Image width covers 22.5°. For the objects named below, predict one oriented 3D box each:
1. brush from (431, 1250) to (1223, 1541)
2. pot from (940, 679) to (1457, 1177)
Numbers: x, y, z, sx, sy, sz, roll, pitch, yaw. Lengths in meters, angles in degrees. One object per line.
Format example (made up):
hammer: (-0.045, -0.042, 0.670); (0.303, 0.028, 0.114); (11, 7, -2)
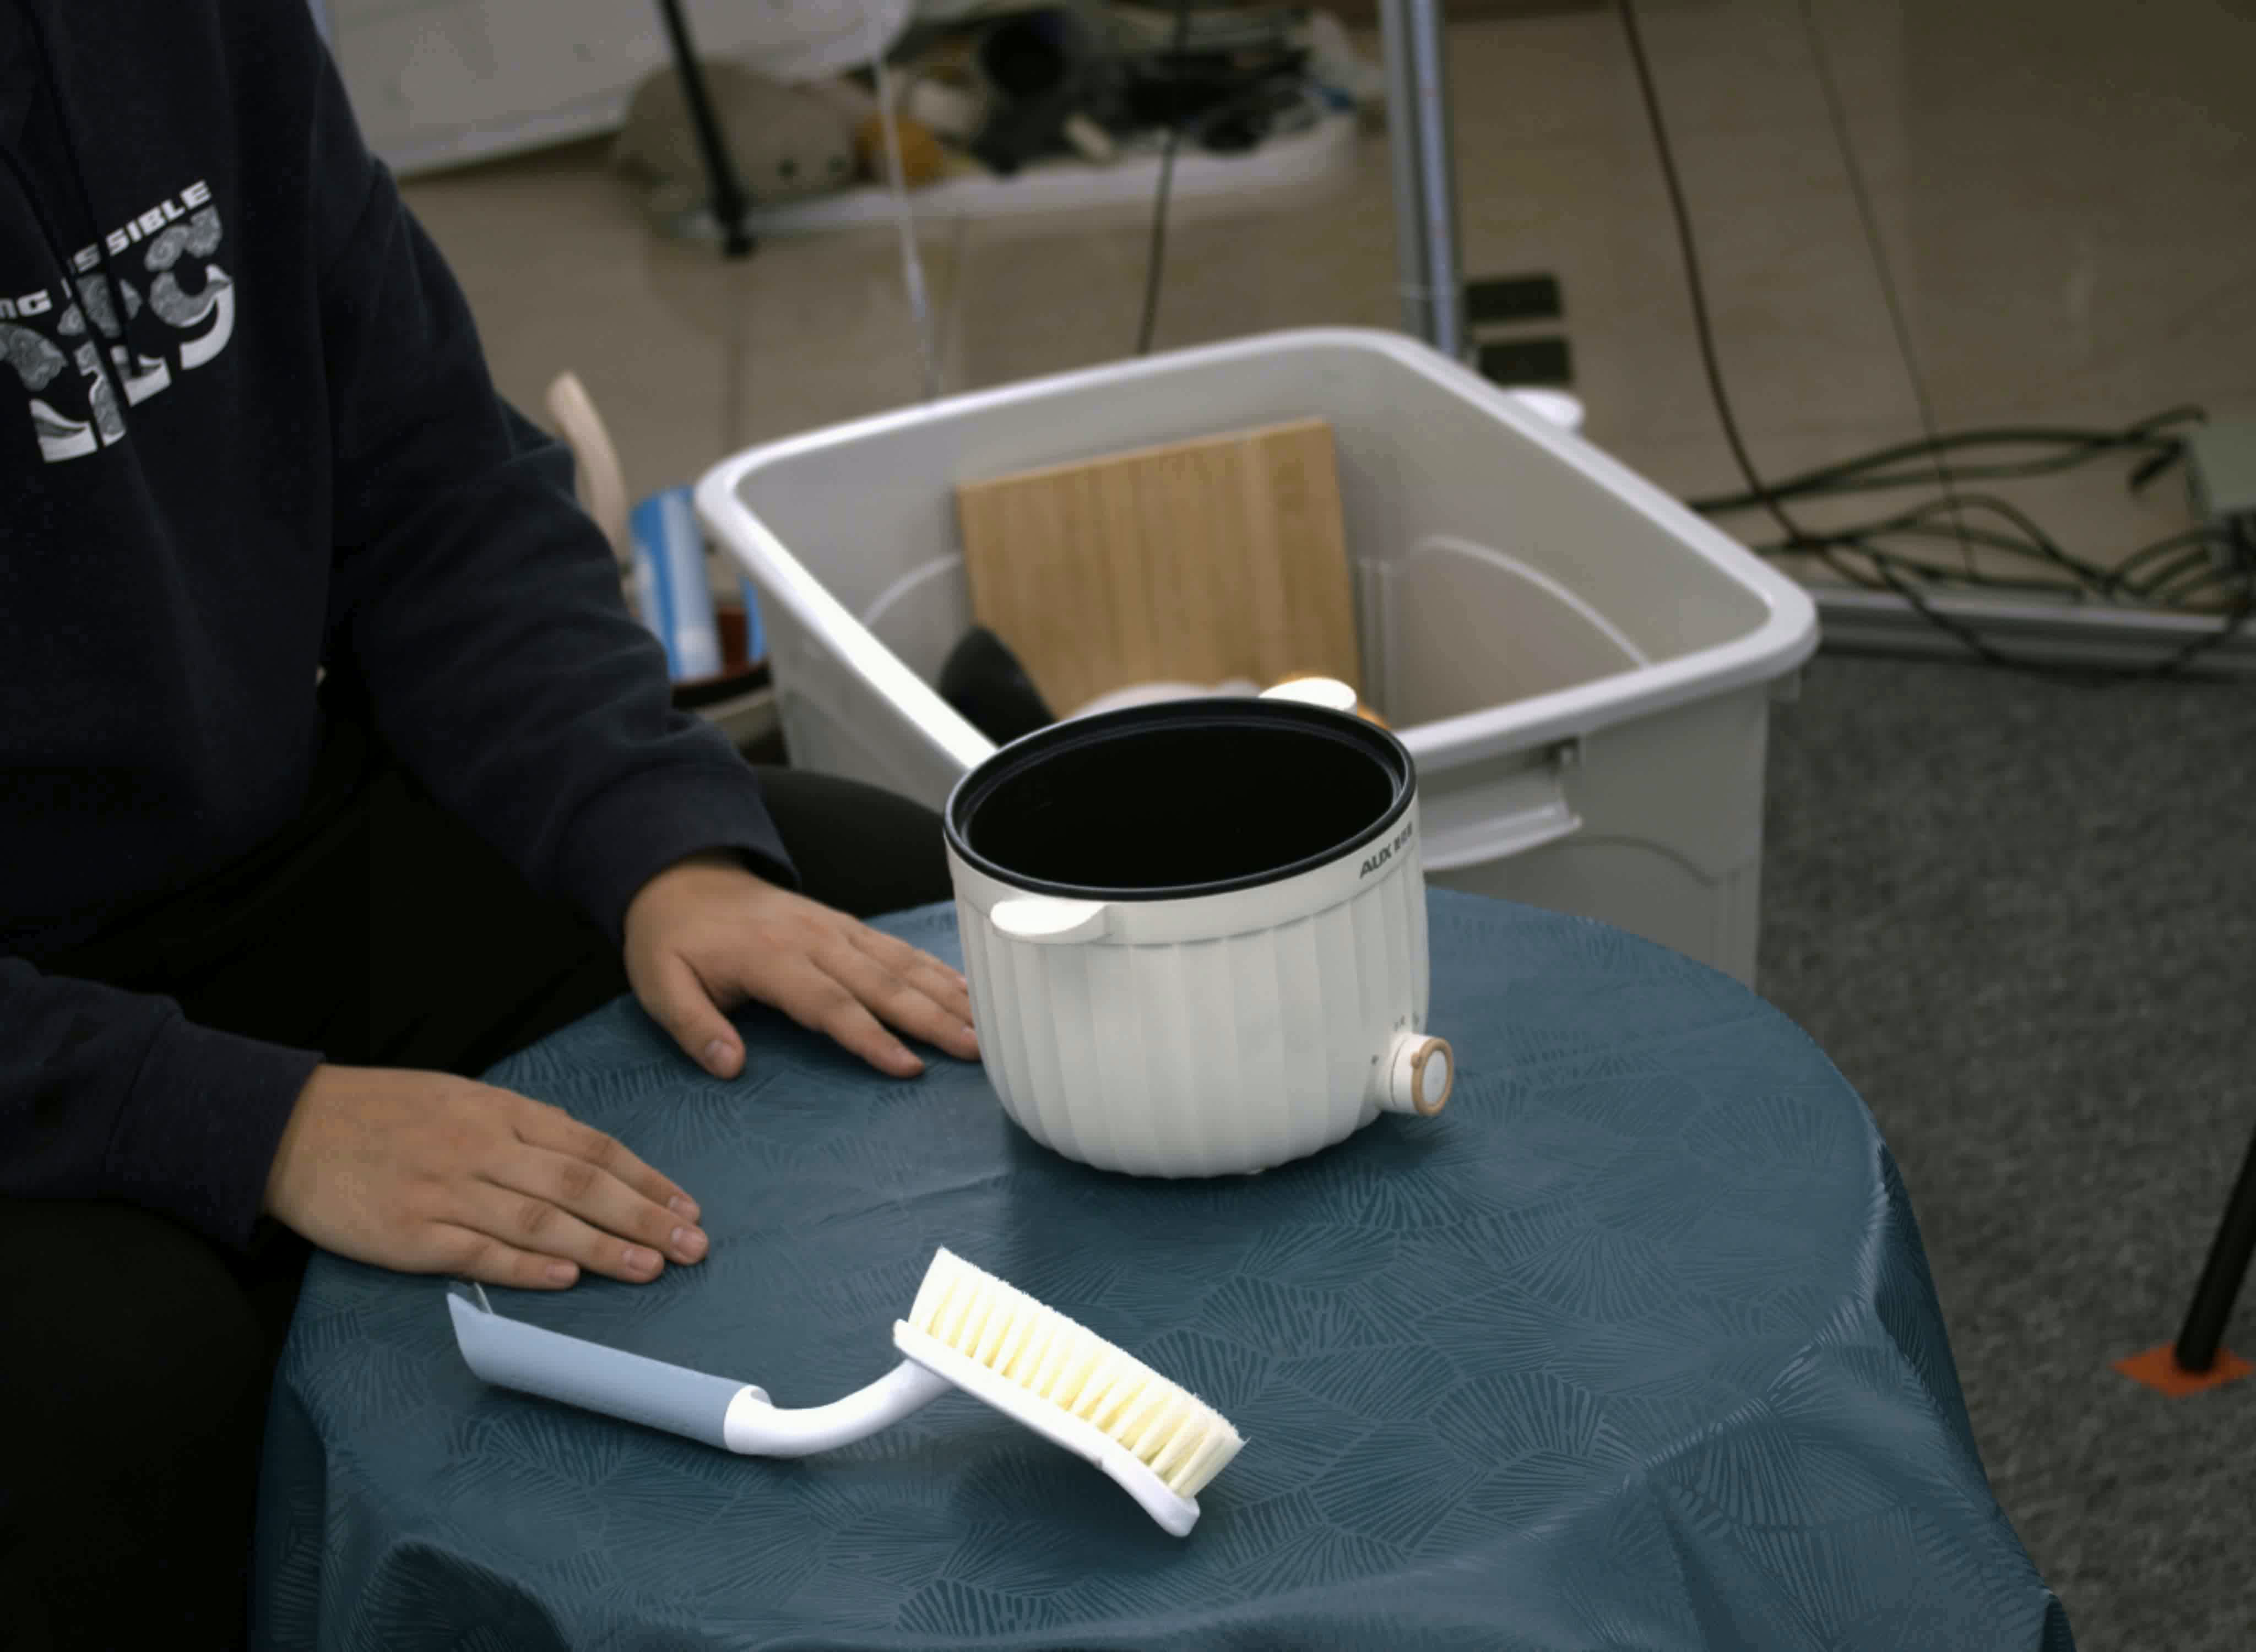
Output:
brush: (-0.108, 0.175, 1.993); (0.324, 0.084, 0.083); (11, 37, 31)
pot: (0.031, 0.047, 2.173); (0.190, 0.145, 0.237); (5, 28, 31)
